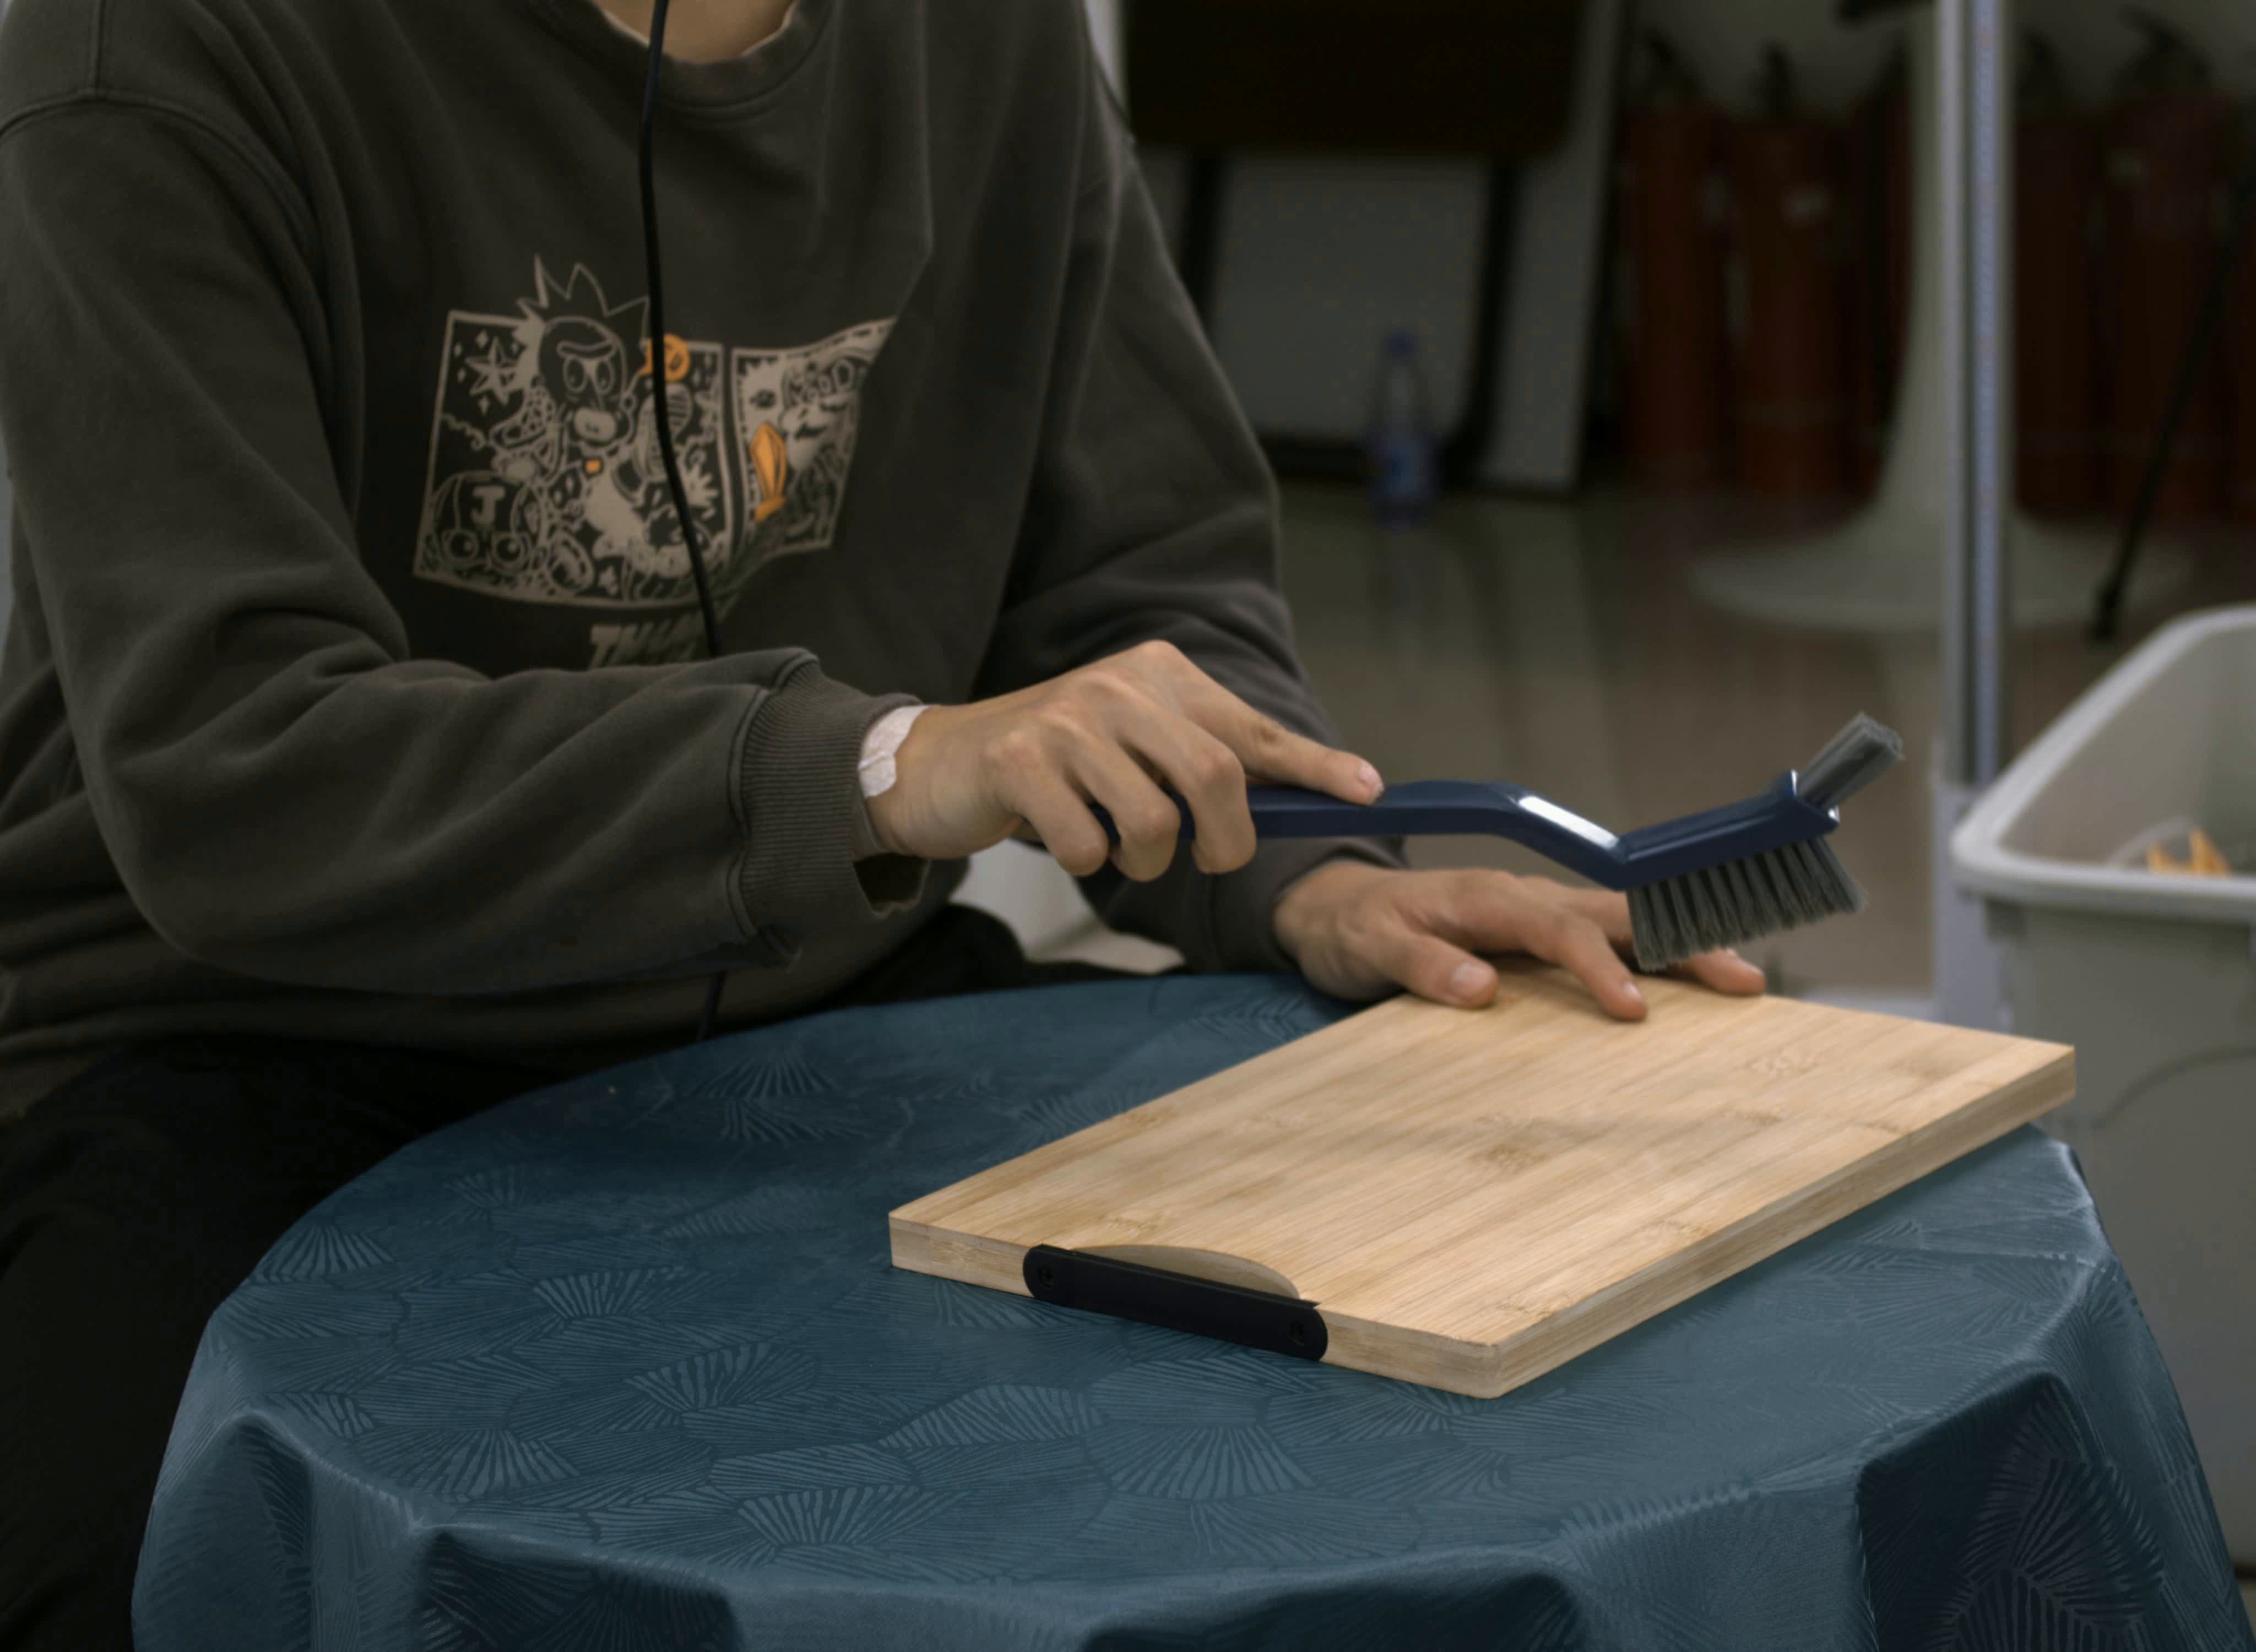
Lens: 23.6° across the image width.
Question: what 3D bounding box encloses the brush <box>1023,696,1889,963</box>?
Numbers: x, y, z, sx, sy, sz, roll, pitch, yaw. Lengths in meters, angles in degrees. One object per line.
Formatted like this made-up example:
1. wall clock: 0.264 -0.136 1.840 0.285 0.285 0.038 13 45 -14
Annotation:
1. brush: 0.102 -0.010 1.721 0.270 0.097 0.033 7 24 5

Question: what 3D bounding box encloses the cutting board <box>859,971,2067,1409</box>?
1. cutting board: 0.117 0.112 1.751 0.252 0.024 0.342 6 17 39
